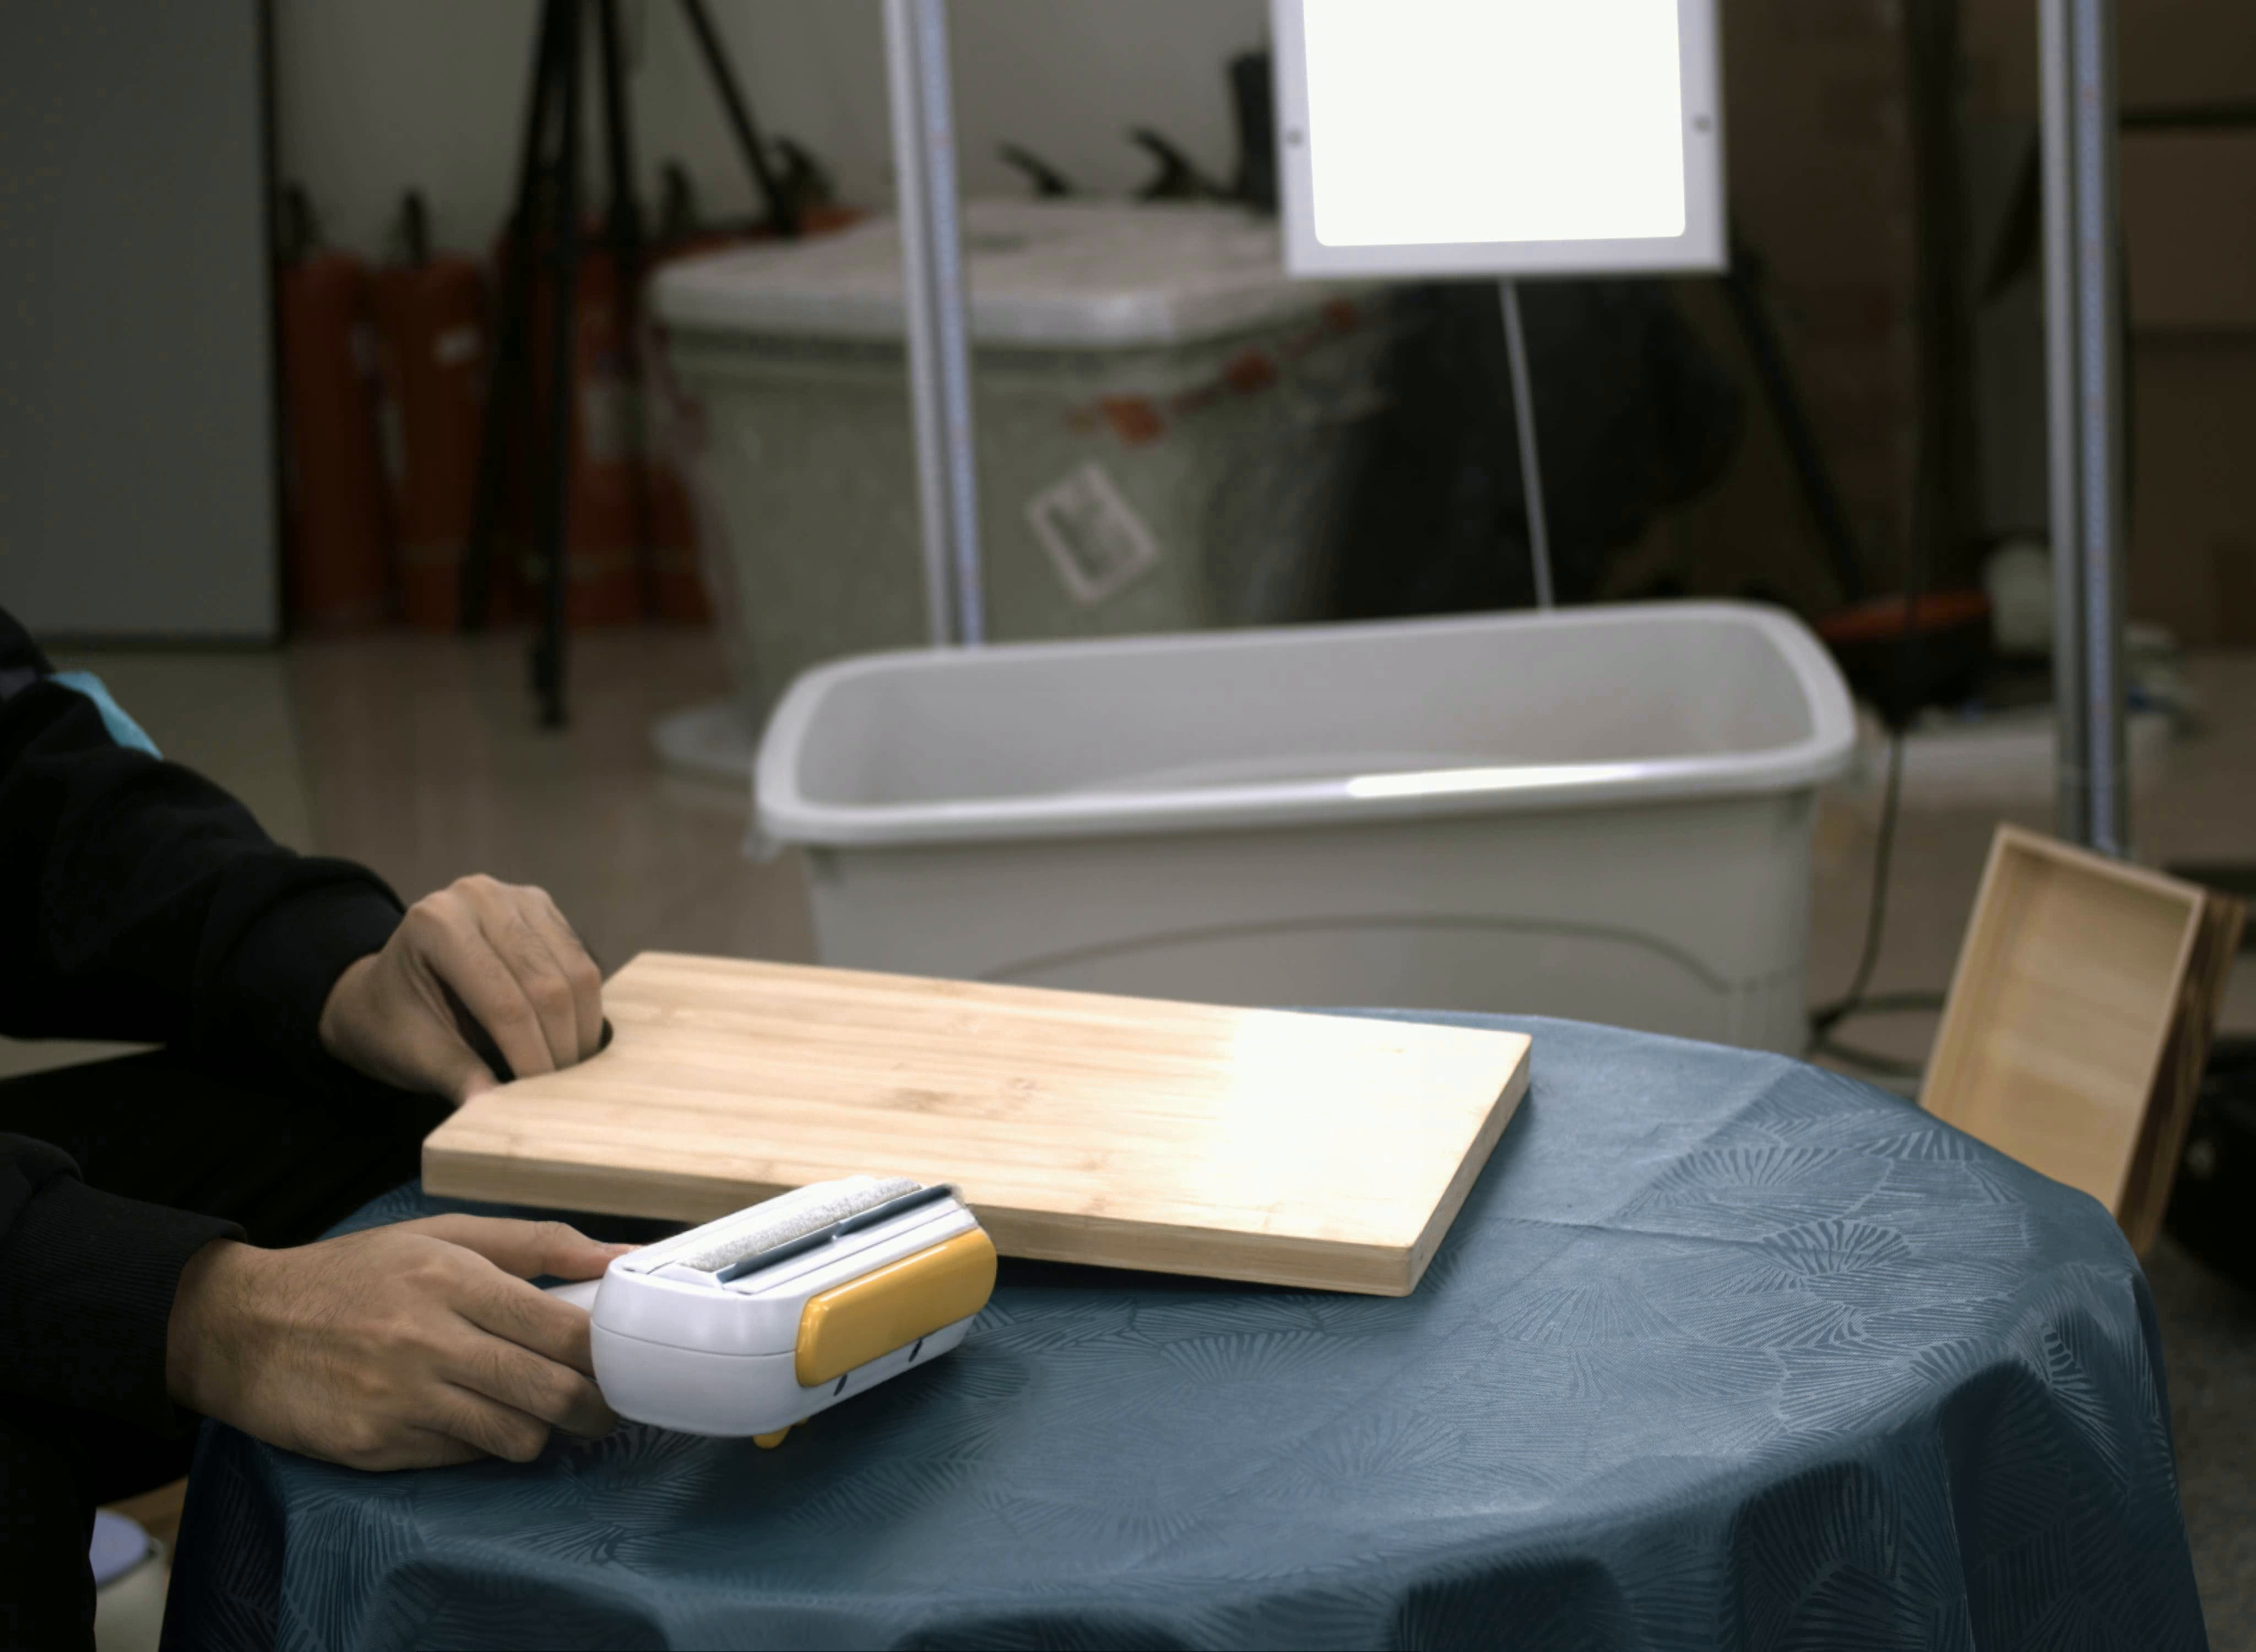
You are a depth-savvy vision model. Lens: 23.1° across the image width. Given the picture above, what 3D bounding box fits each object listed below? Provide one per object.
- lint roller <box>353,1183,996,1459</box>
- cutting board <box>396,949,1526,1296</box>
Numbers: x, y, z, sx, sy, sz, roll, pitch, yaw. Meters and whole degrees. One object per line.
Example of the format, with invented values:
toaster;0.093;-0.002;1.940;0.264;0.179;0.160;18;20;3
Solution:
lint roller;-0.156;0.153;1.704;0.196;0.074;0.189;0;10;26
cutting board;-0.051;0.100;1.917;0.351;0.024;0.247;5;16;14
